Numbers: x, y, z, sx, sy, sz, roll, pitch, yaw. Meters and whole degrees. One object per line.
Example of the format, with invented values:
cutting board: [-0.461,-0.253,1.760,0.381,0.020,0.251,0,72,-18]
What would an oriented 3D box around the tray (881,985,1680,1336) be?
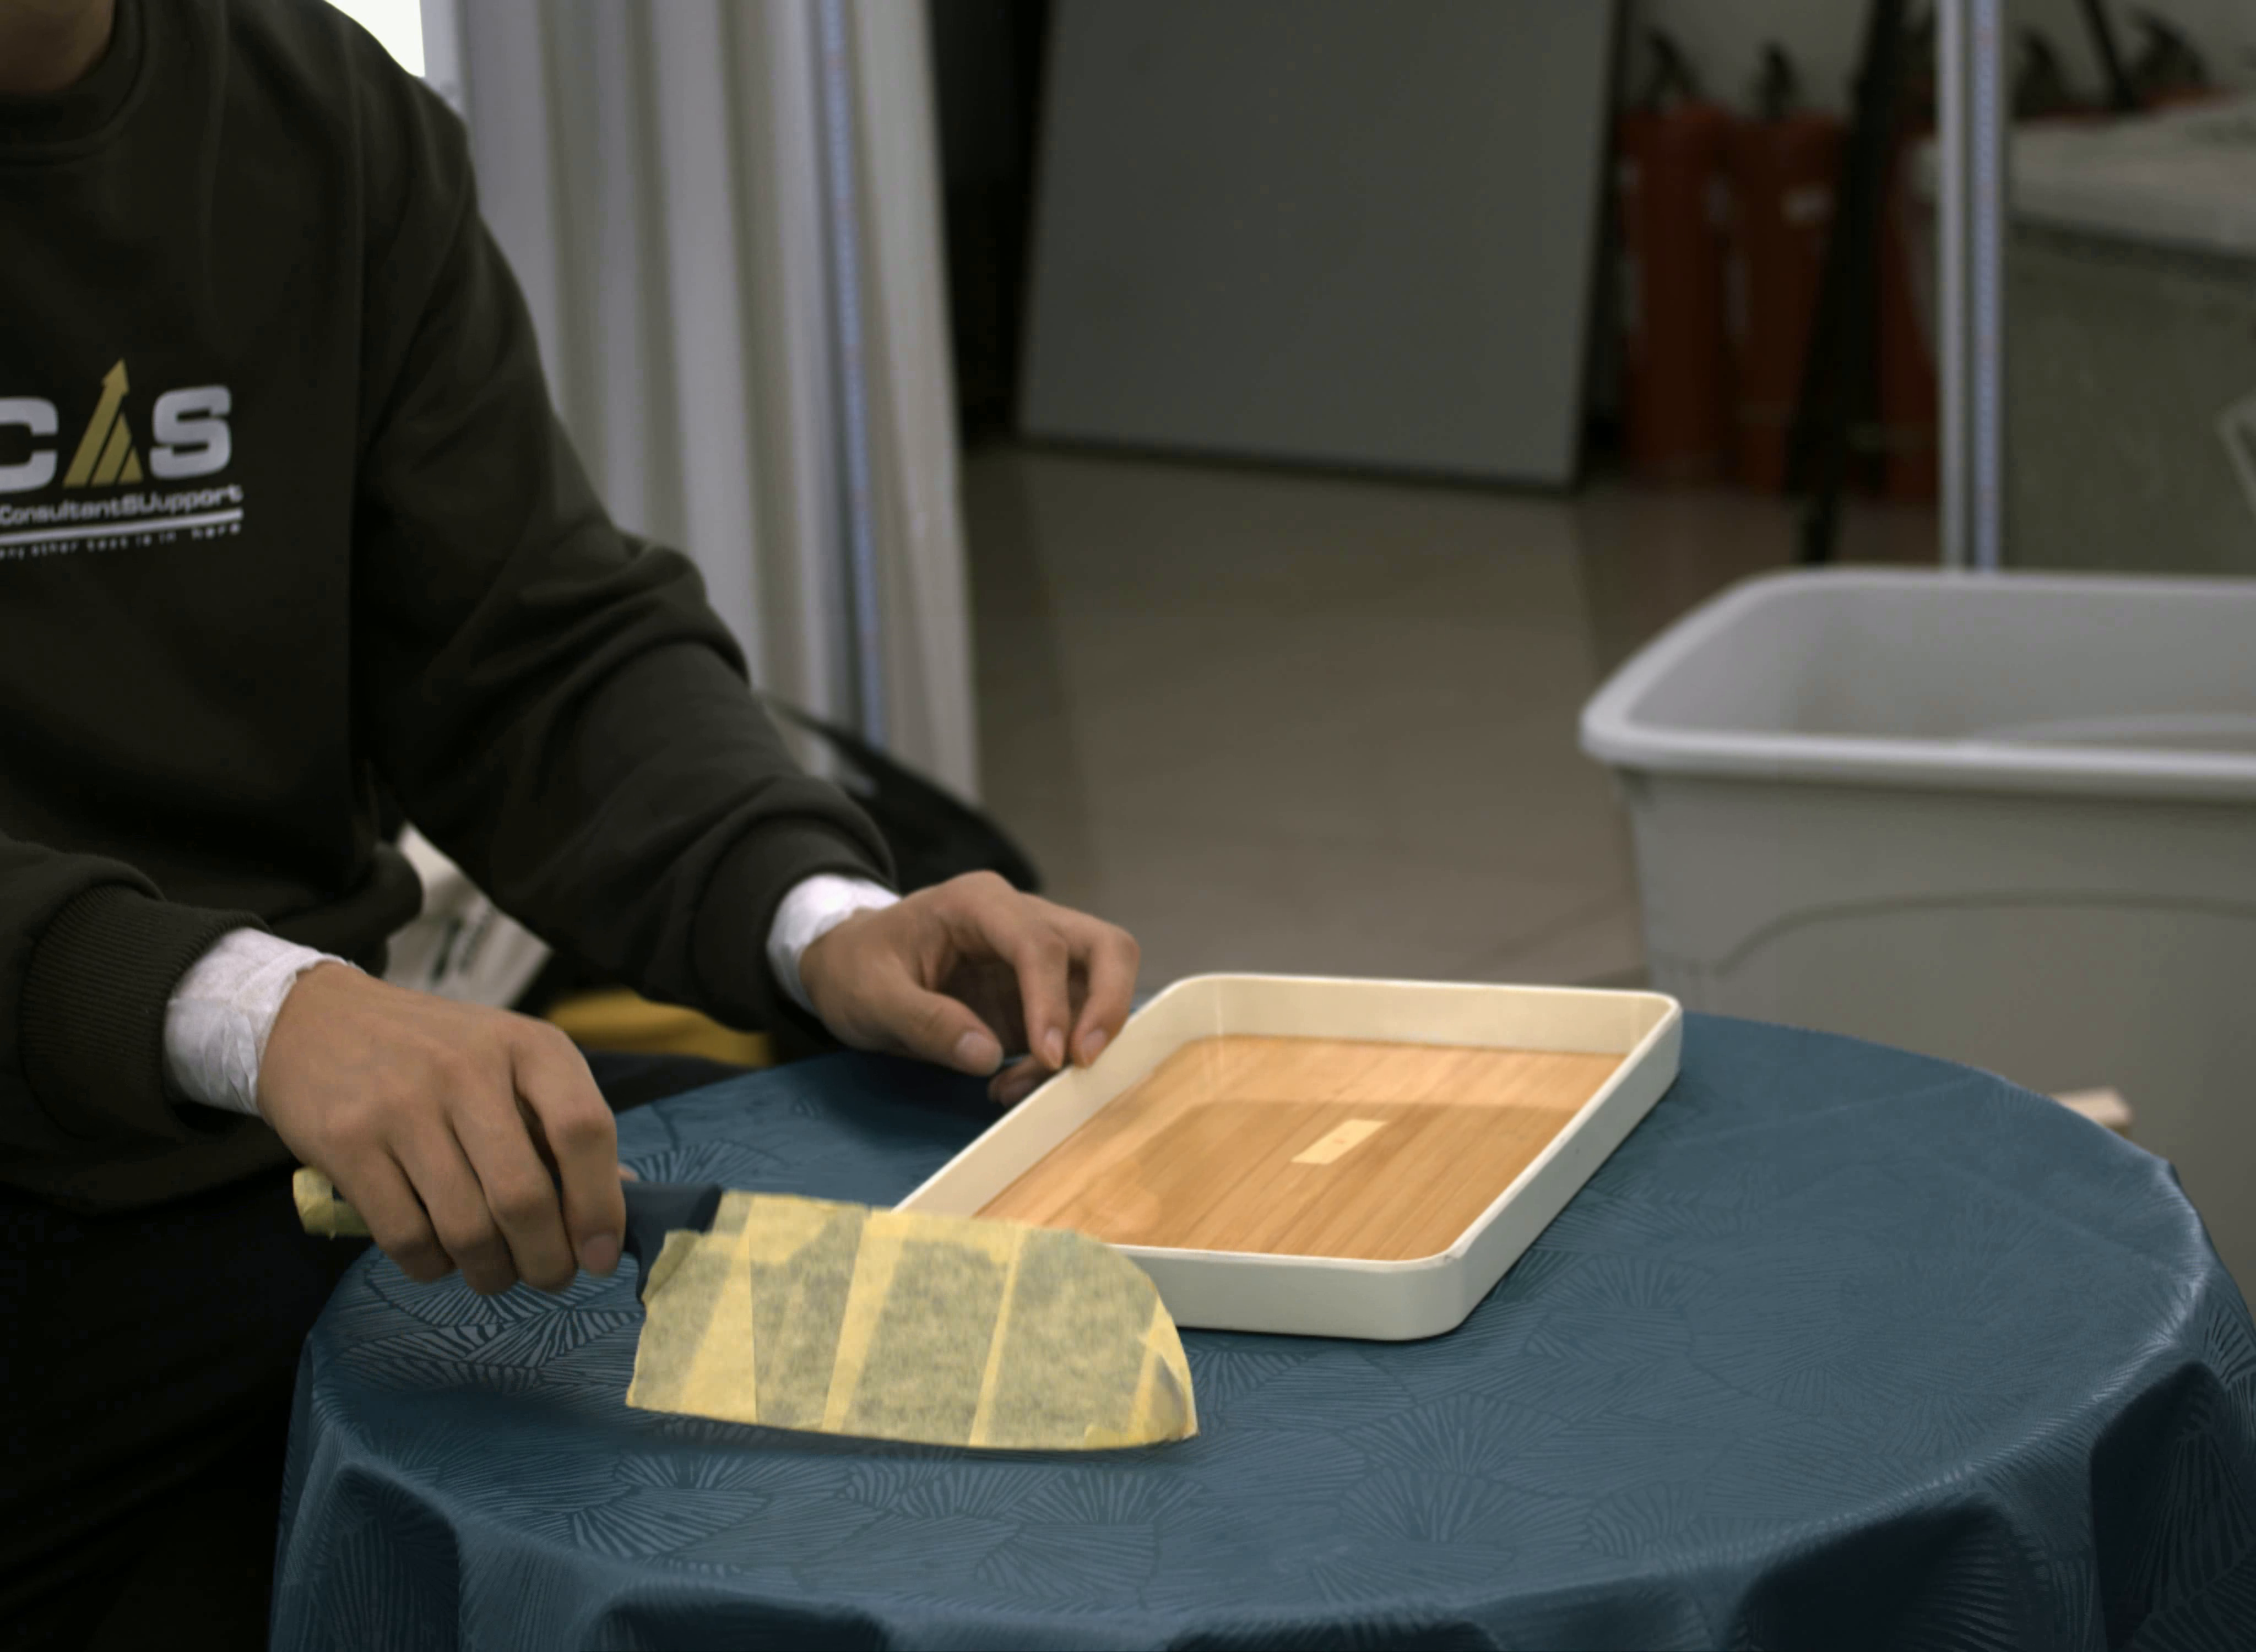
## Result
tray: [0.057,0.105,1.768,0.191,0.028,0.297,0,14,22]

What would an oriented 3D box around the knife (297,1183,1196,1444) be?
knife: [-0.115,0.142,1.579,0.289,0.027,0.081,6,56,19]
